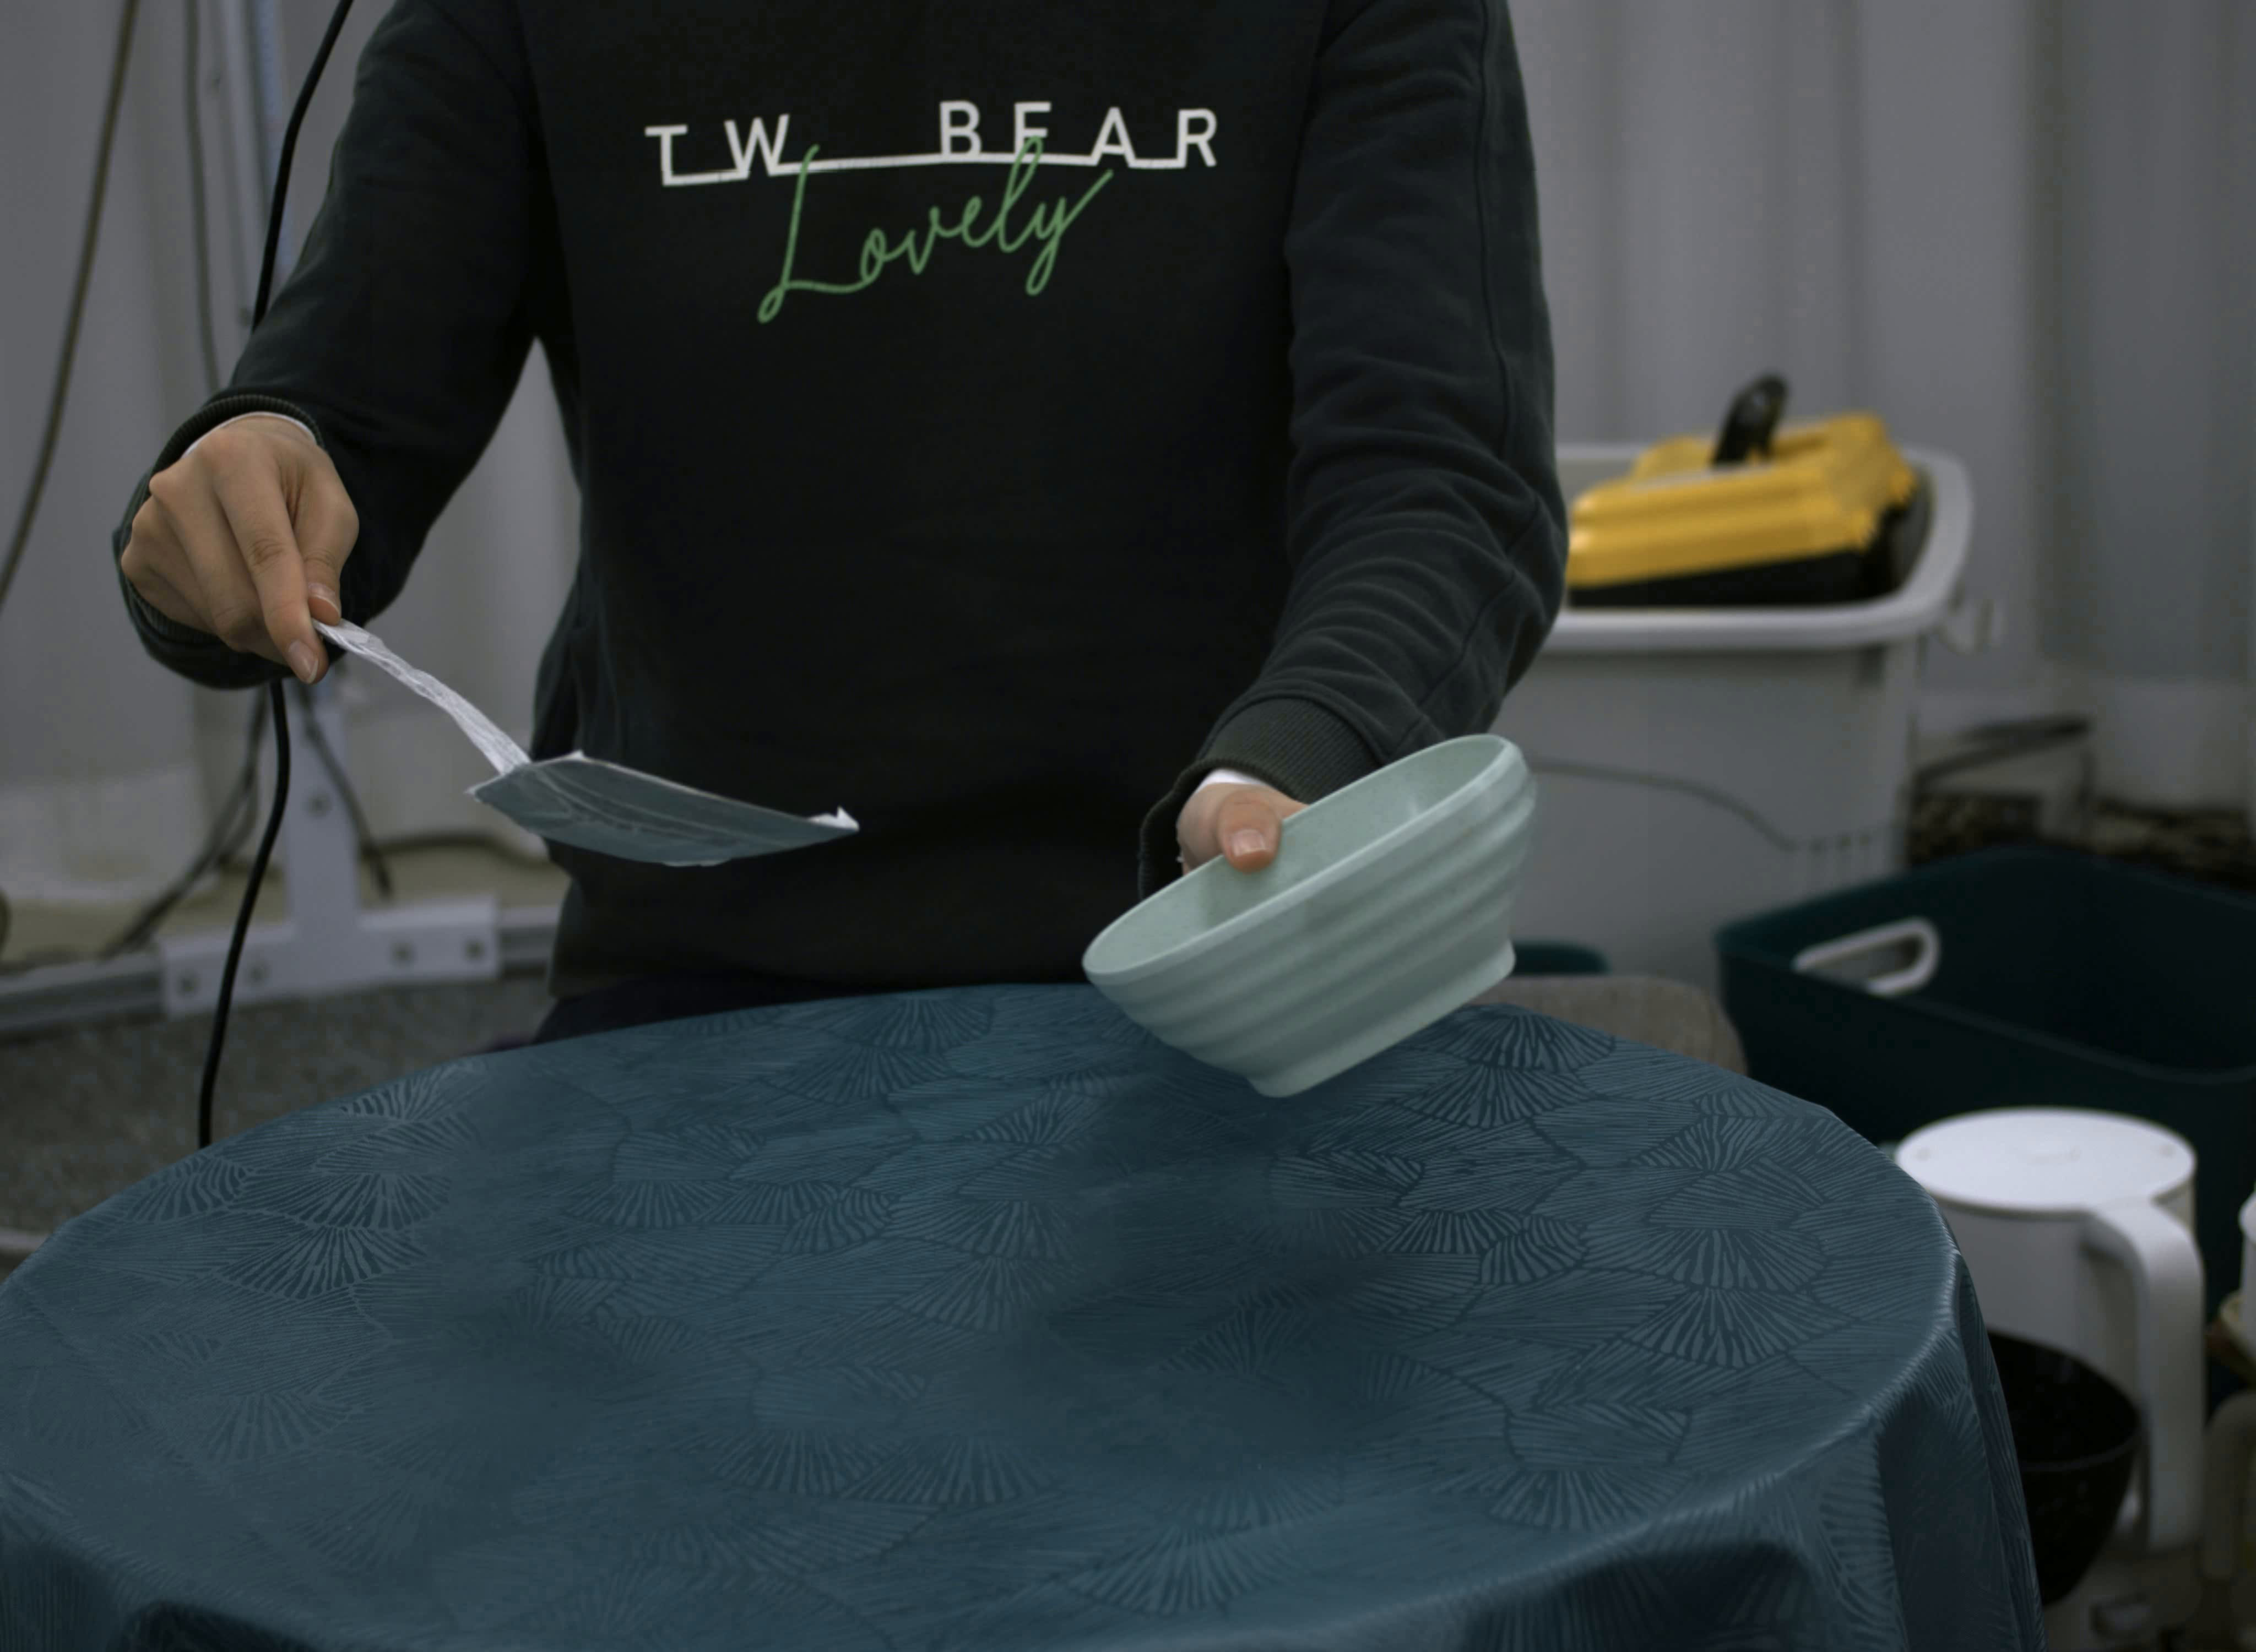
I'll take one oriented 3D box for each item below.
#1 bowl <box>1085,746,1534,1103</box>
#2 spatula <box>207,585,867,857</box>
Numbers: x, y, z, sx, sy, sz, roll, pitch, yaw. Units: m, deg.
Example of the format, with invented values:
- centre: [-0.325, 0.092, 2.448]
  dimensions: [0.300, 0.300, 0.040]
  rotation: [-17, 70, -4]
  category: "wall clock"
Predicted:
- centre: [0.062, 0.034, 1.582]
  dimensions: [0.151, 0.058, 0.152]
  rotation: [-25, 8, 3]
  category: "bowl"
- centre: [-0.201, -0.042, 1.633]
  dimensions: [0.098, 0.045, 0.368]
  rotation: [12, 10, -34]
  category: "spatula"
